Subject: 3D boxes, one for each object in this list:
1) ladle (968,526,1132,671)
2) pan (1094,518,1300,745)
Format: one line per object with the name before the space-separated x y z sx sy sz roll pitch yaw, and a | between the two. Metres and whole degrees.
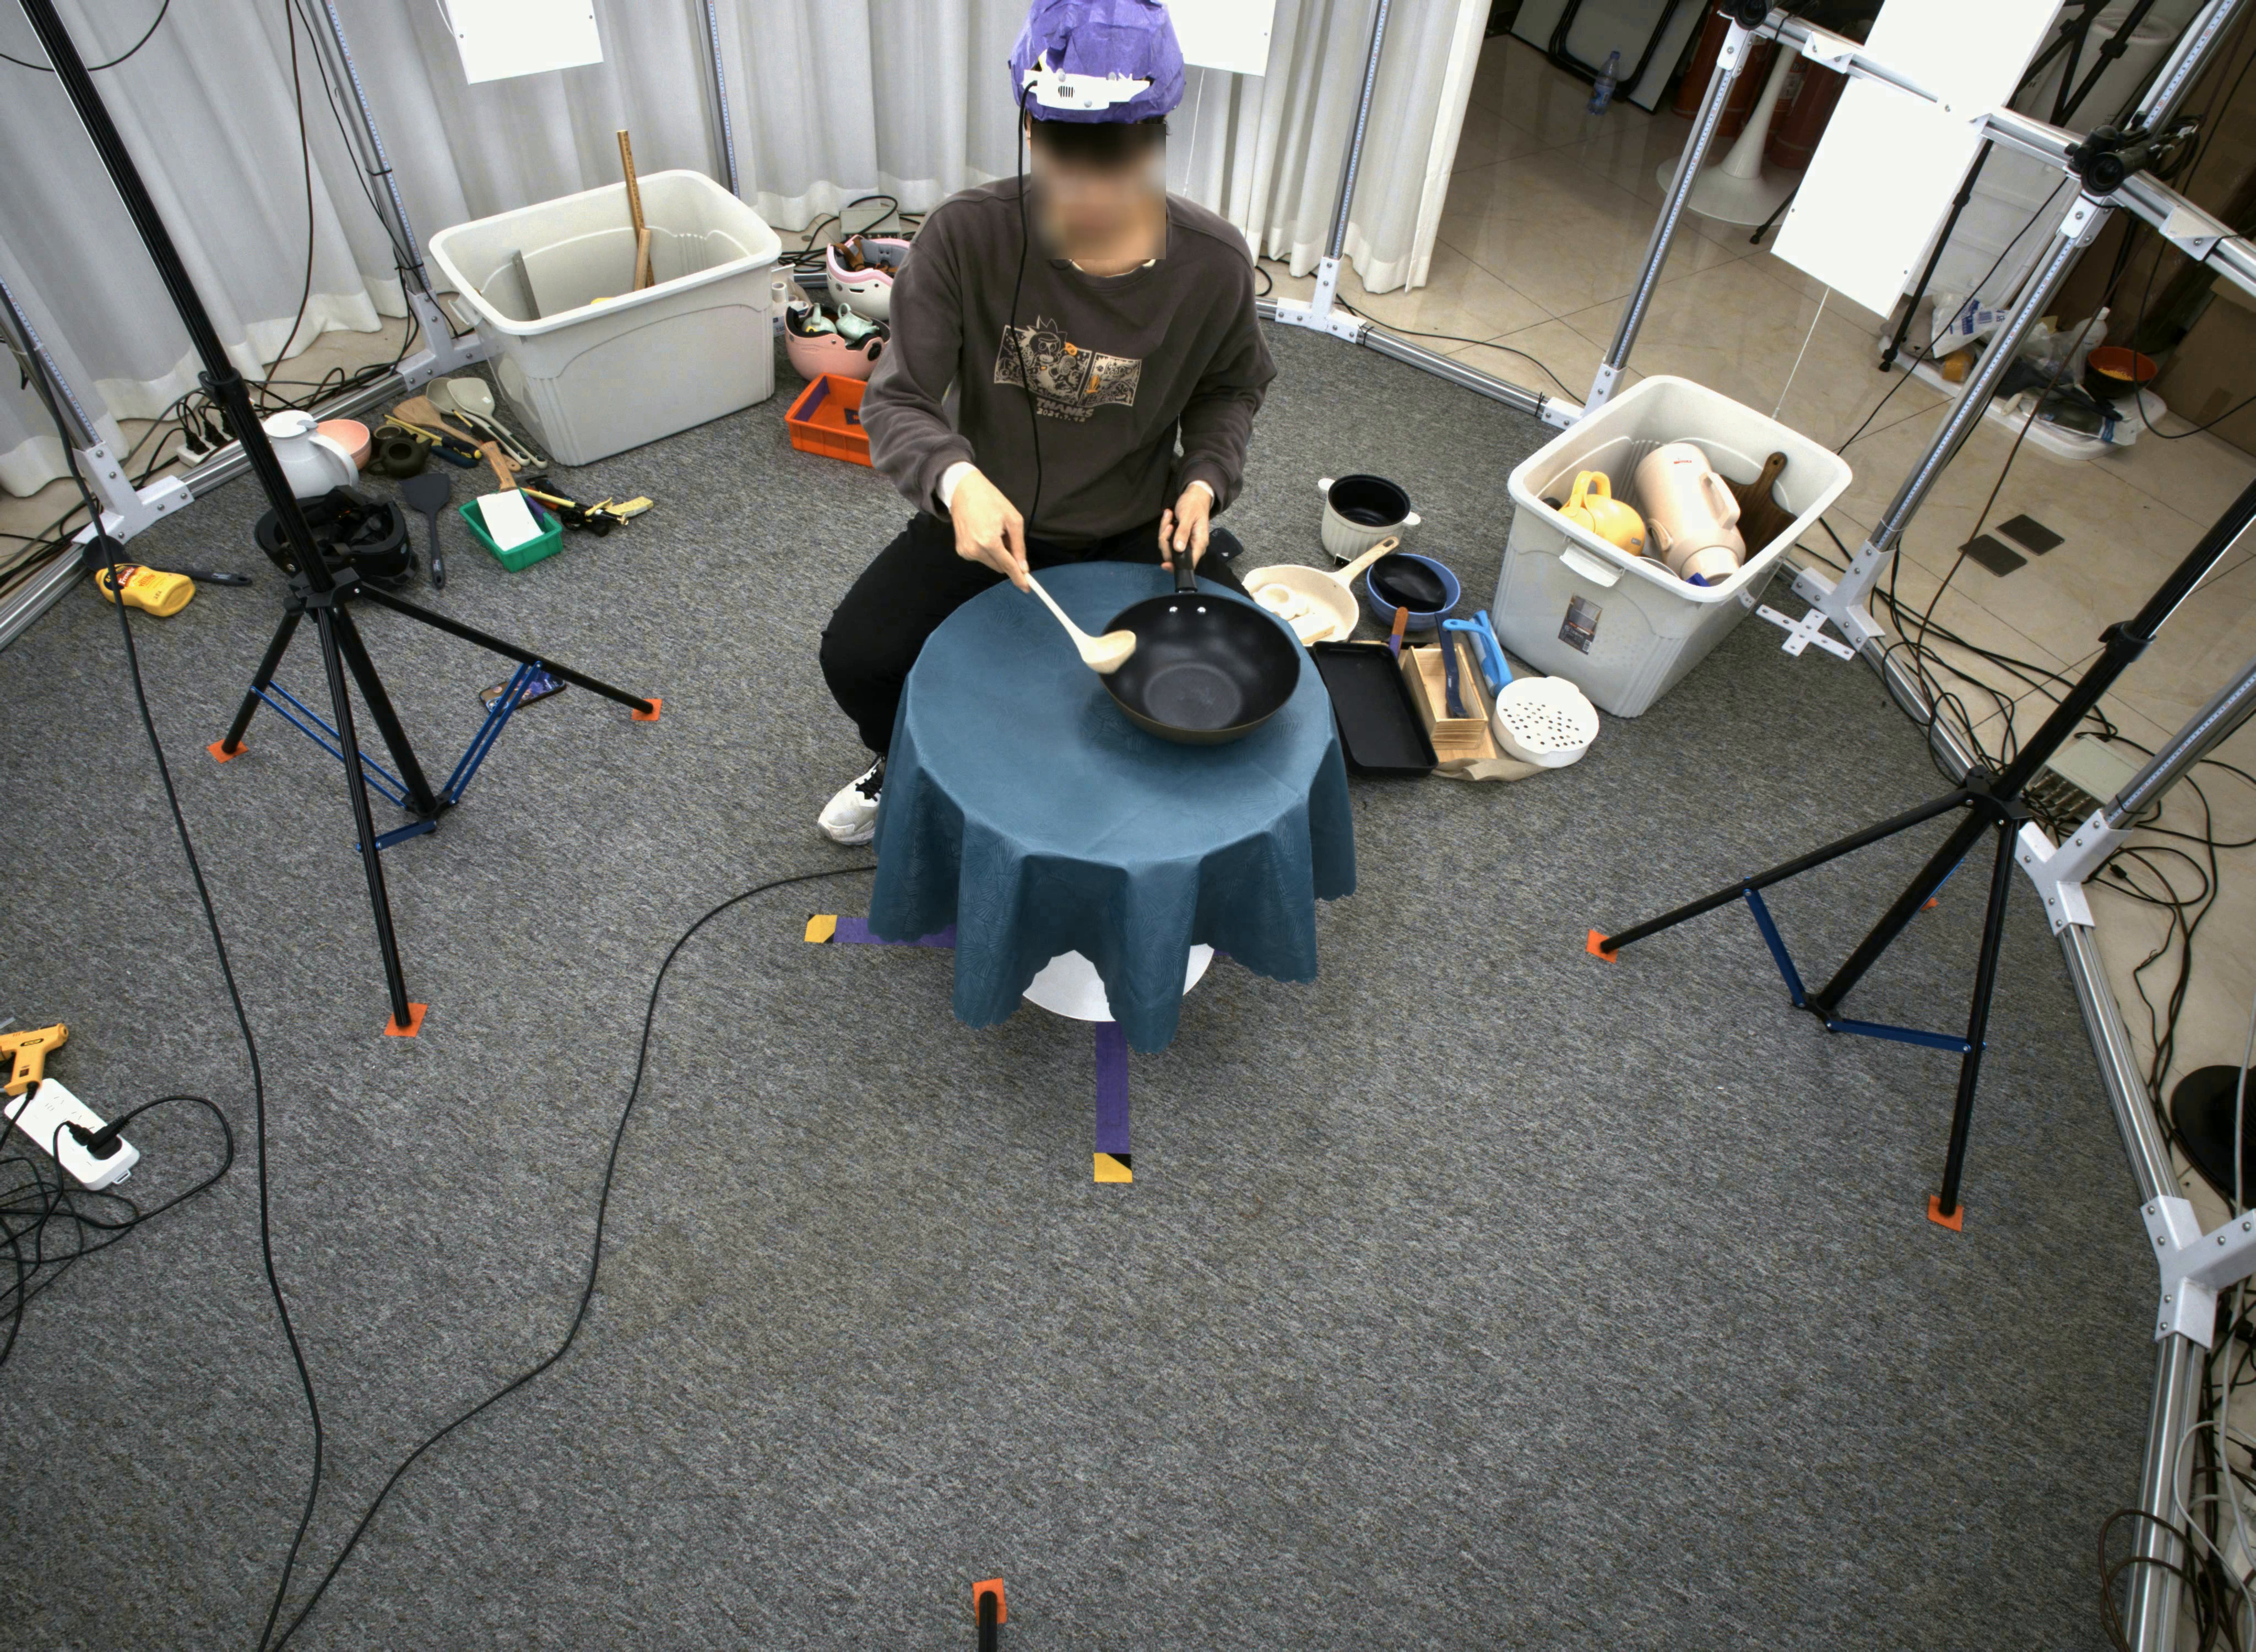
ladle | -0.097 -0.301 1.634 0.253 0.072 0.073 45 59 -7
pan | 0.086 -0.276 1.857 0.288 0.085 0.475 -1 48 -4
